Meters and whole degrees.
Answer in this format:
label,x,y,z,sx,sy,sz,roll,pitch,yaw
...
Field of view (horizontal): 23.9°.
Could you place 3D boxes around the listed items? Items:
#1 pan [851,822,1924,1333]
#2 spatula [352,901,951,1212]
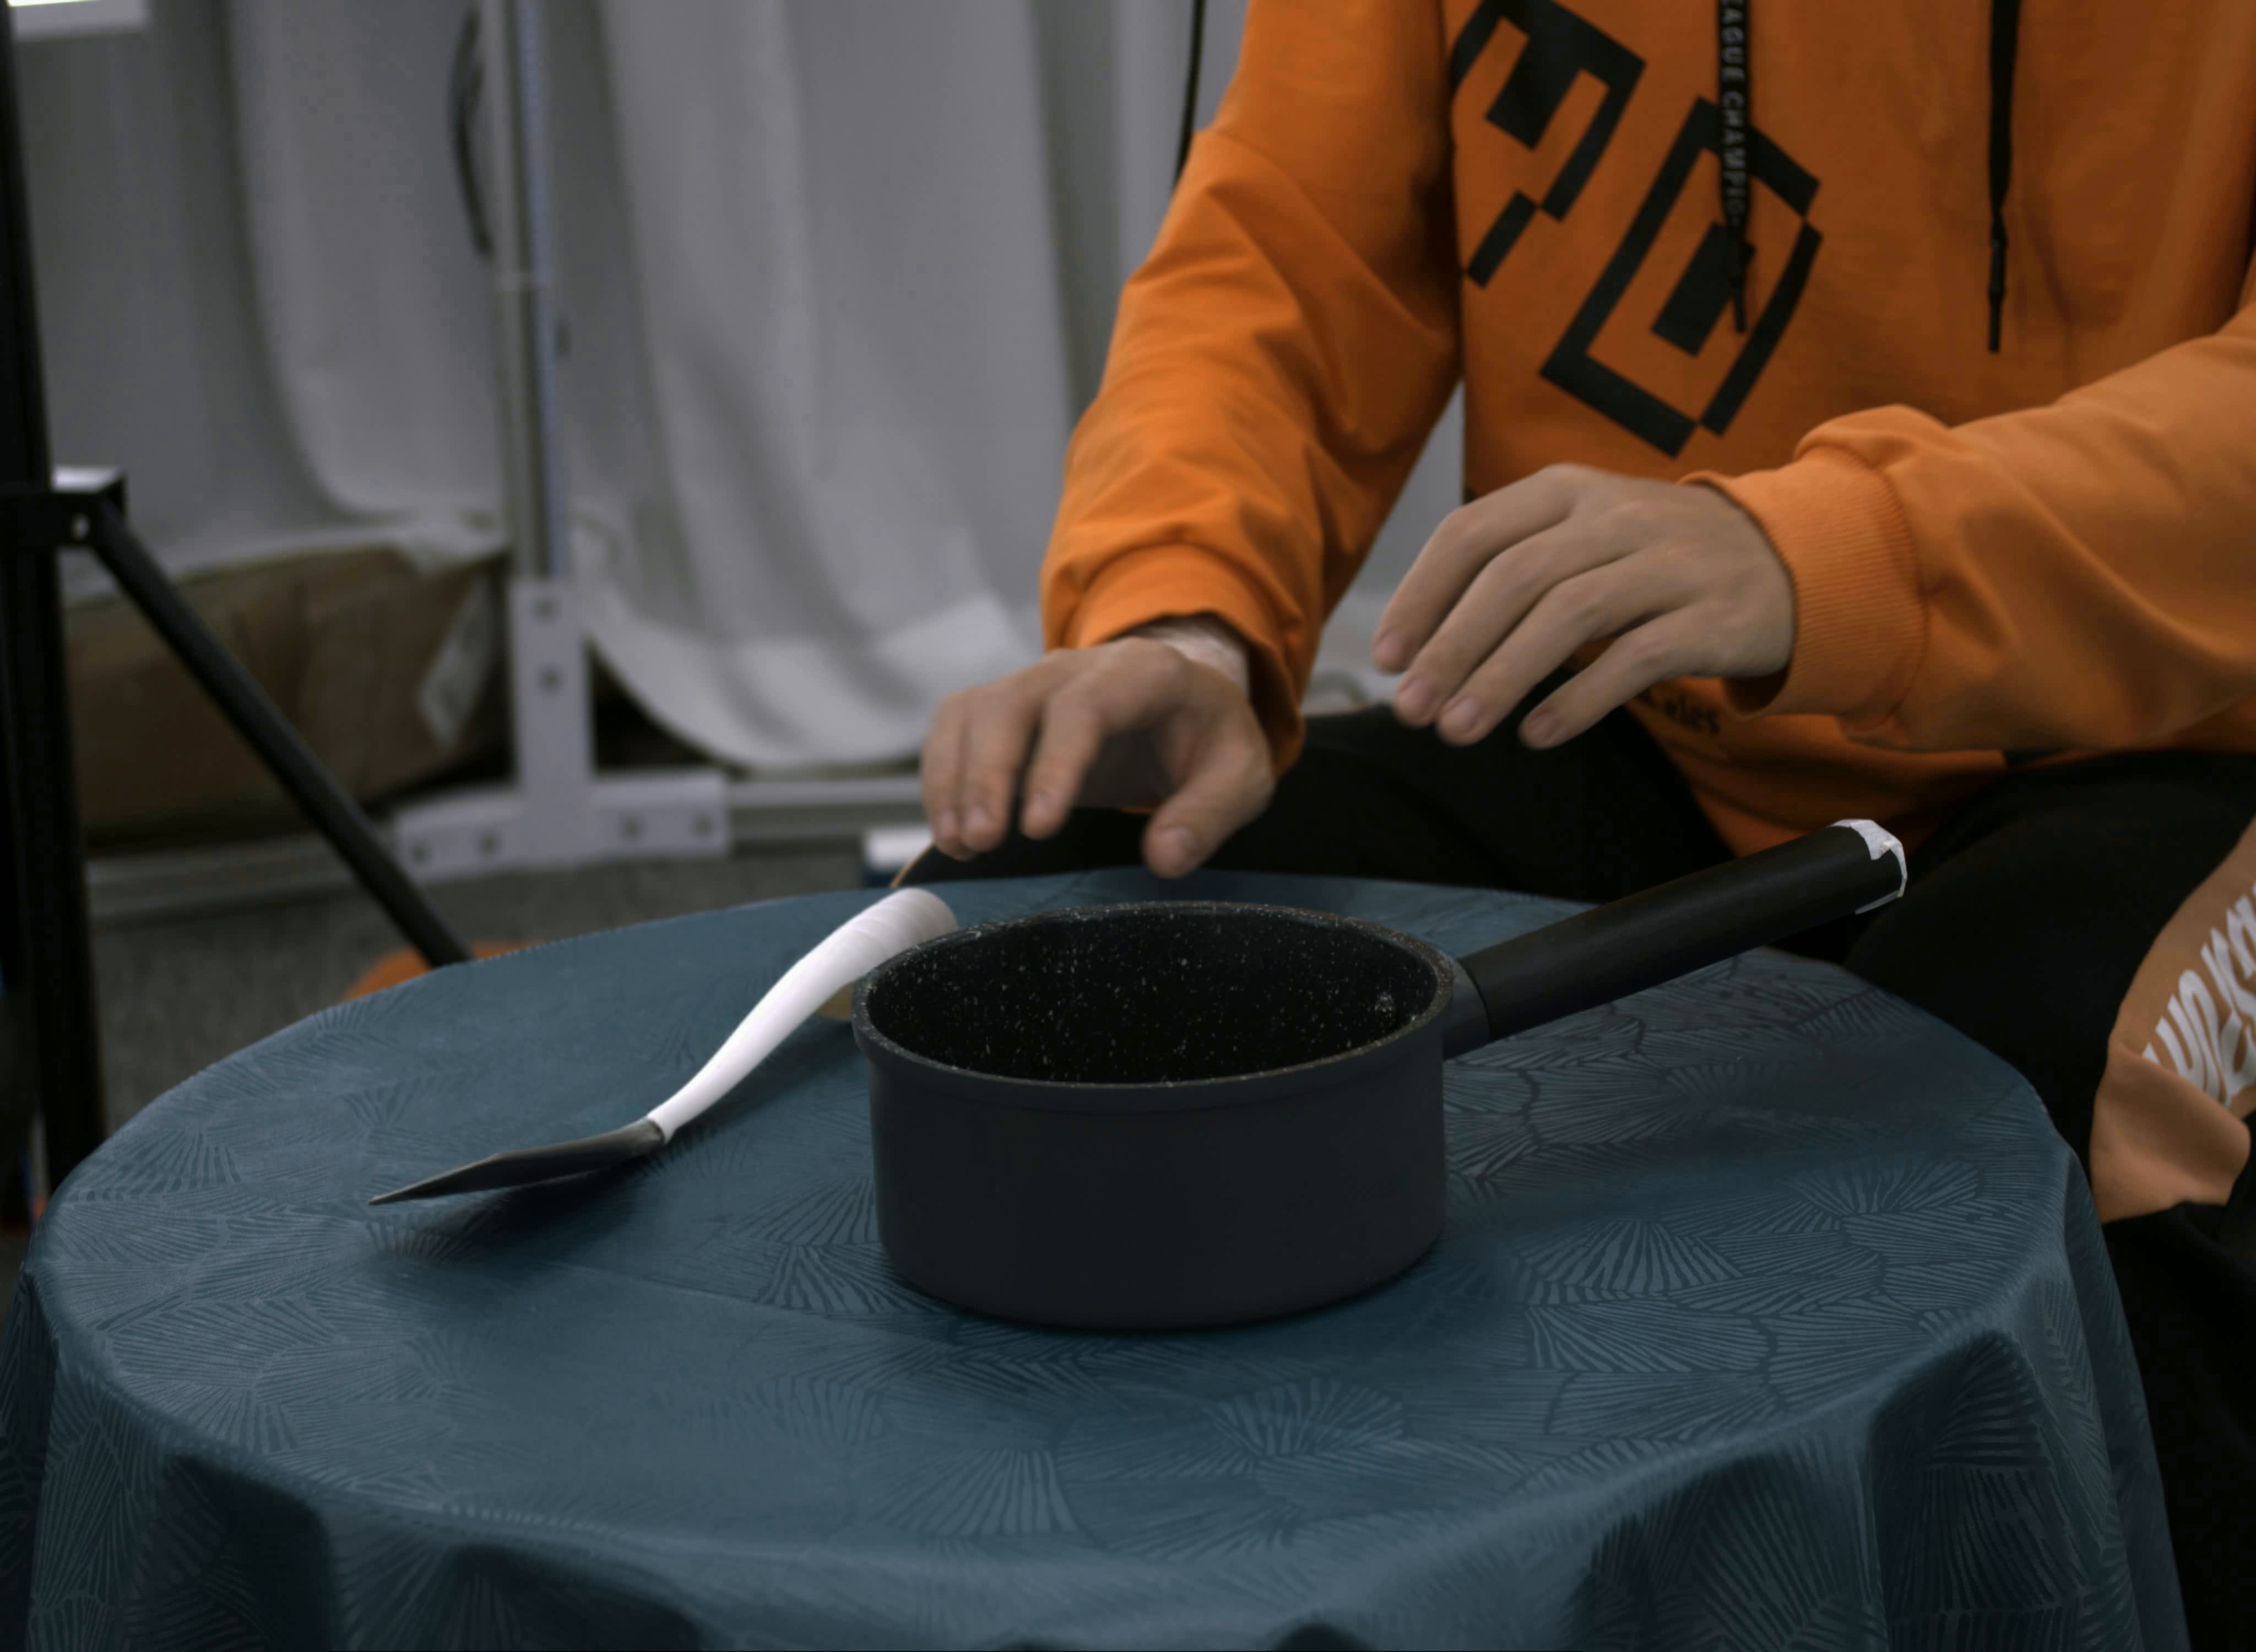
label,x,y,z,sx,sy,sz,roll,pitch,yaw
pan,0.081,0.067,1.533,0.323,0.086,0.175,-10,18,-18
spatula,-0.136,0.075,1.639,0.059,0.032,0.283,-17,6,31
